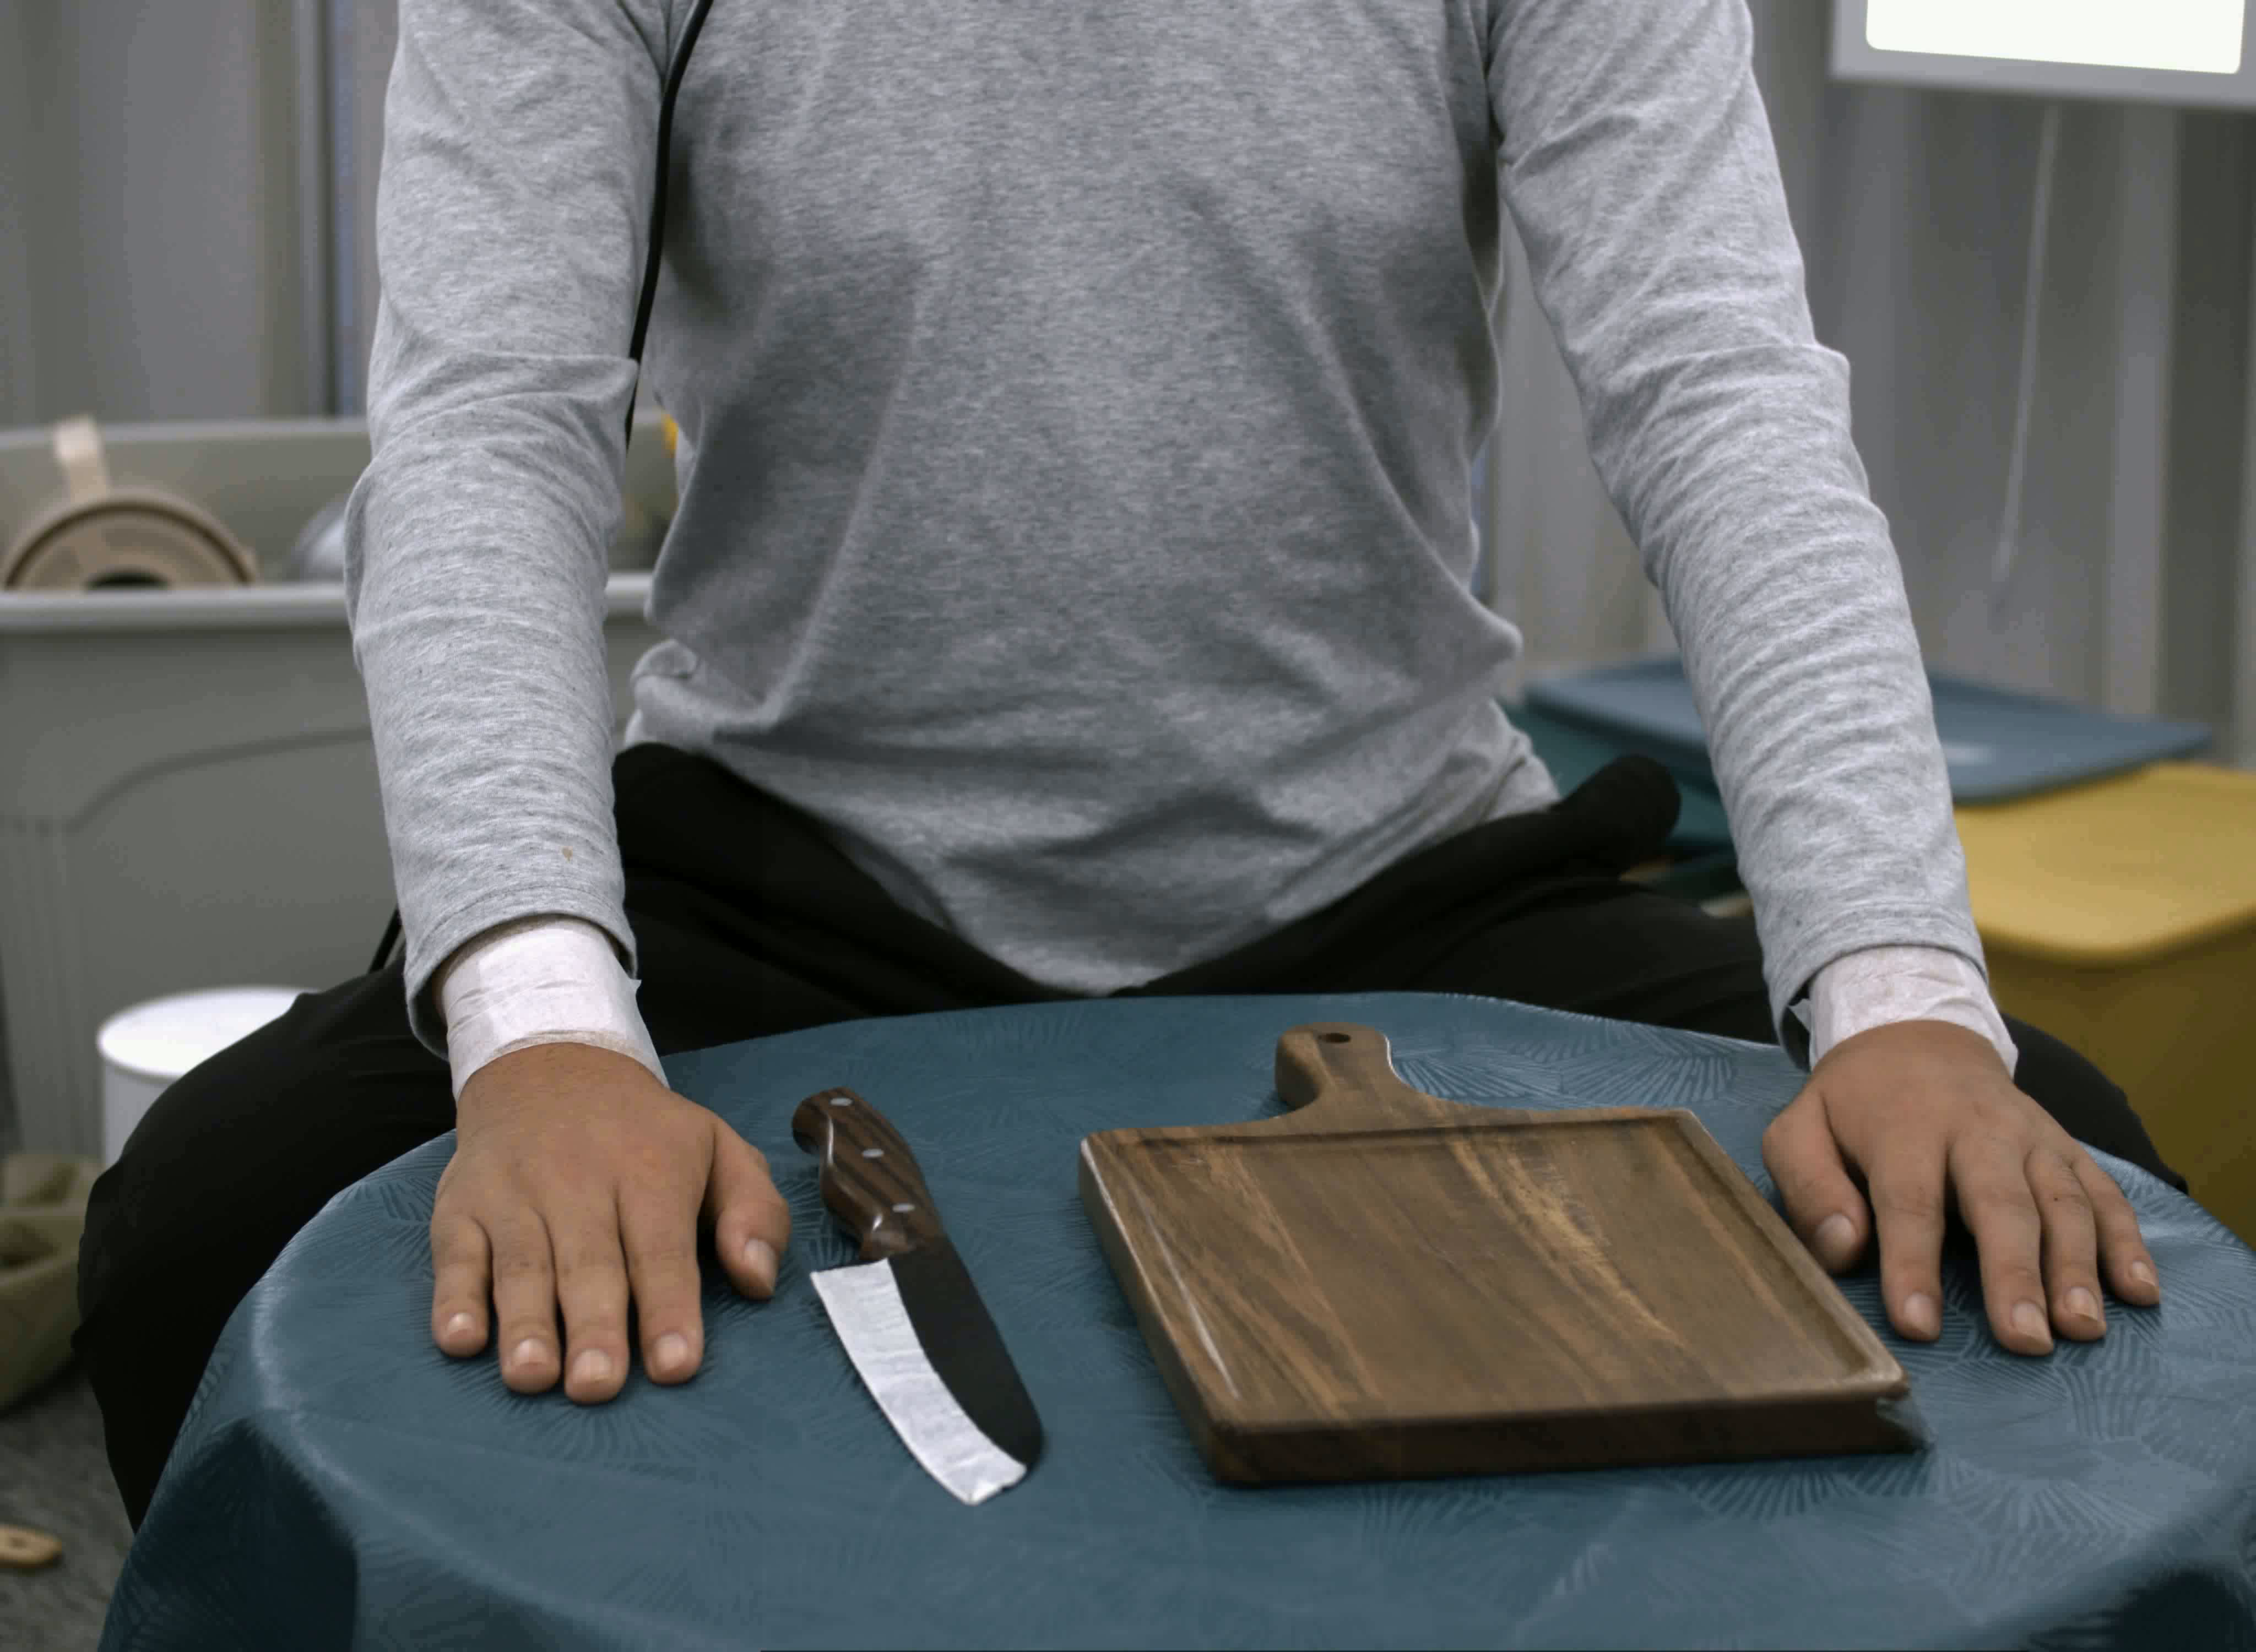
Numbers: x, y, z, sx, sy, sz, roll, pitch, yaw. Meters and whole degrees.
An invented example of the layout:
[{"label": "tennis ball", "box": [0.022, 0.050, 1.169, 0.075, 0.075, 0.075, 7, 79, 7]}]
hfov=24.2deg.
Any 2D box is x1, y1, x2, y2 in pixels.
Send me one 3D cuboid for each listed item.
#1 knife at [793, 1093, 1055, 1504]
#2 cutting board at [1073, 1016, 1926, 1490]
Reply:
[{"label": "knife", "box": [-0.064, 0.134, 1.515, 0.050, 0.020, 0.286, -8, 19, -9]}, {"label": "cutting board", "box": [0.092, 0.118, 1.570, 0.201, 0.023, 0.349, -1, 16, -9]}]
